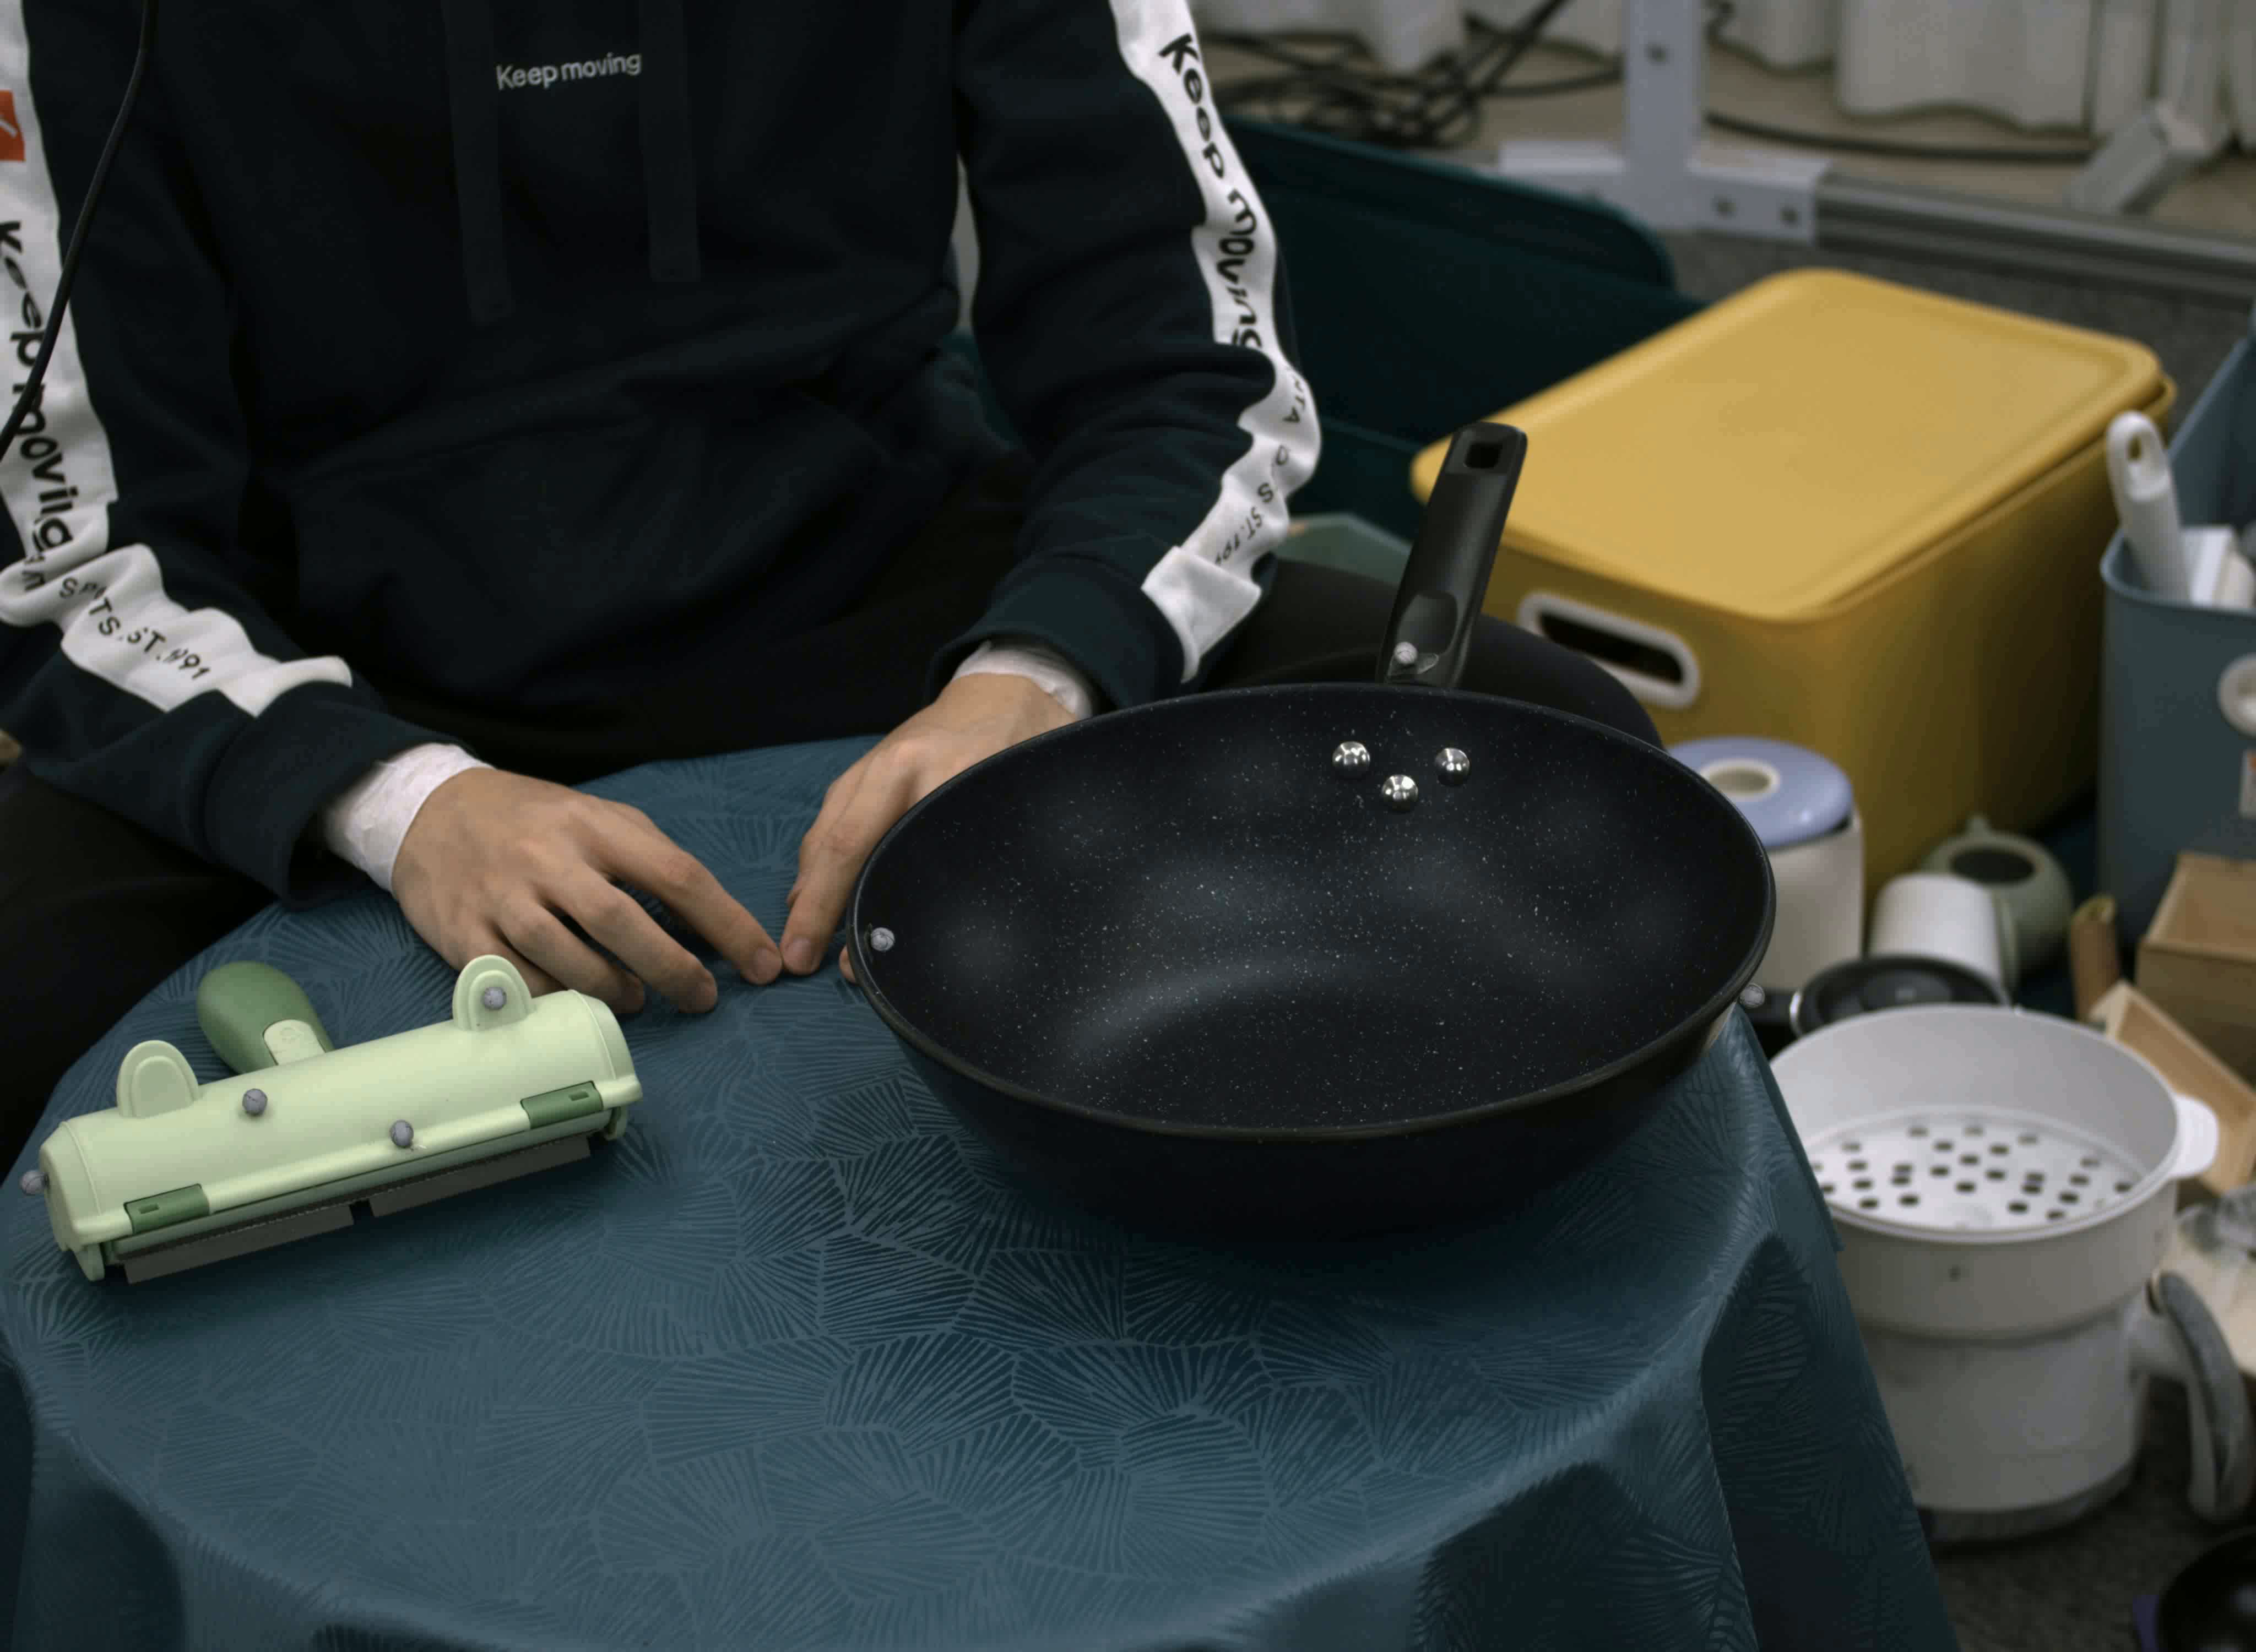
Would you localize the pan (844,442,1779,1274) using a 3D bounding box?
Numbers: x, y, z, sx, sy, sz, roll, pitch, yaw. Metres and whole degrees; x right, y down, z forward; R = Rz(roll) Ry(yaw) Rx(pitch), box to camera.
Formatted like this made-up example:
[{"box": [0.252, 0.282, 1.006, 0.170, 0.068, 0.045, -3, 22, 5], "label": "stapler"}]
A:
[{"box": [0.081, 0.015, 1.944, 0.308, 0.110, 0.485, 5, 29, 13], "label": "pan"}]

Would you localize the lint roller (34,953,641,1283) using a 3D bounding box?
[{"box": [-0.284, 0.070, 1.906, 0.199, 0.081, 0.185, -14, 34, -20], "label": "lint roller"}]
